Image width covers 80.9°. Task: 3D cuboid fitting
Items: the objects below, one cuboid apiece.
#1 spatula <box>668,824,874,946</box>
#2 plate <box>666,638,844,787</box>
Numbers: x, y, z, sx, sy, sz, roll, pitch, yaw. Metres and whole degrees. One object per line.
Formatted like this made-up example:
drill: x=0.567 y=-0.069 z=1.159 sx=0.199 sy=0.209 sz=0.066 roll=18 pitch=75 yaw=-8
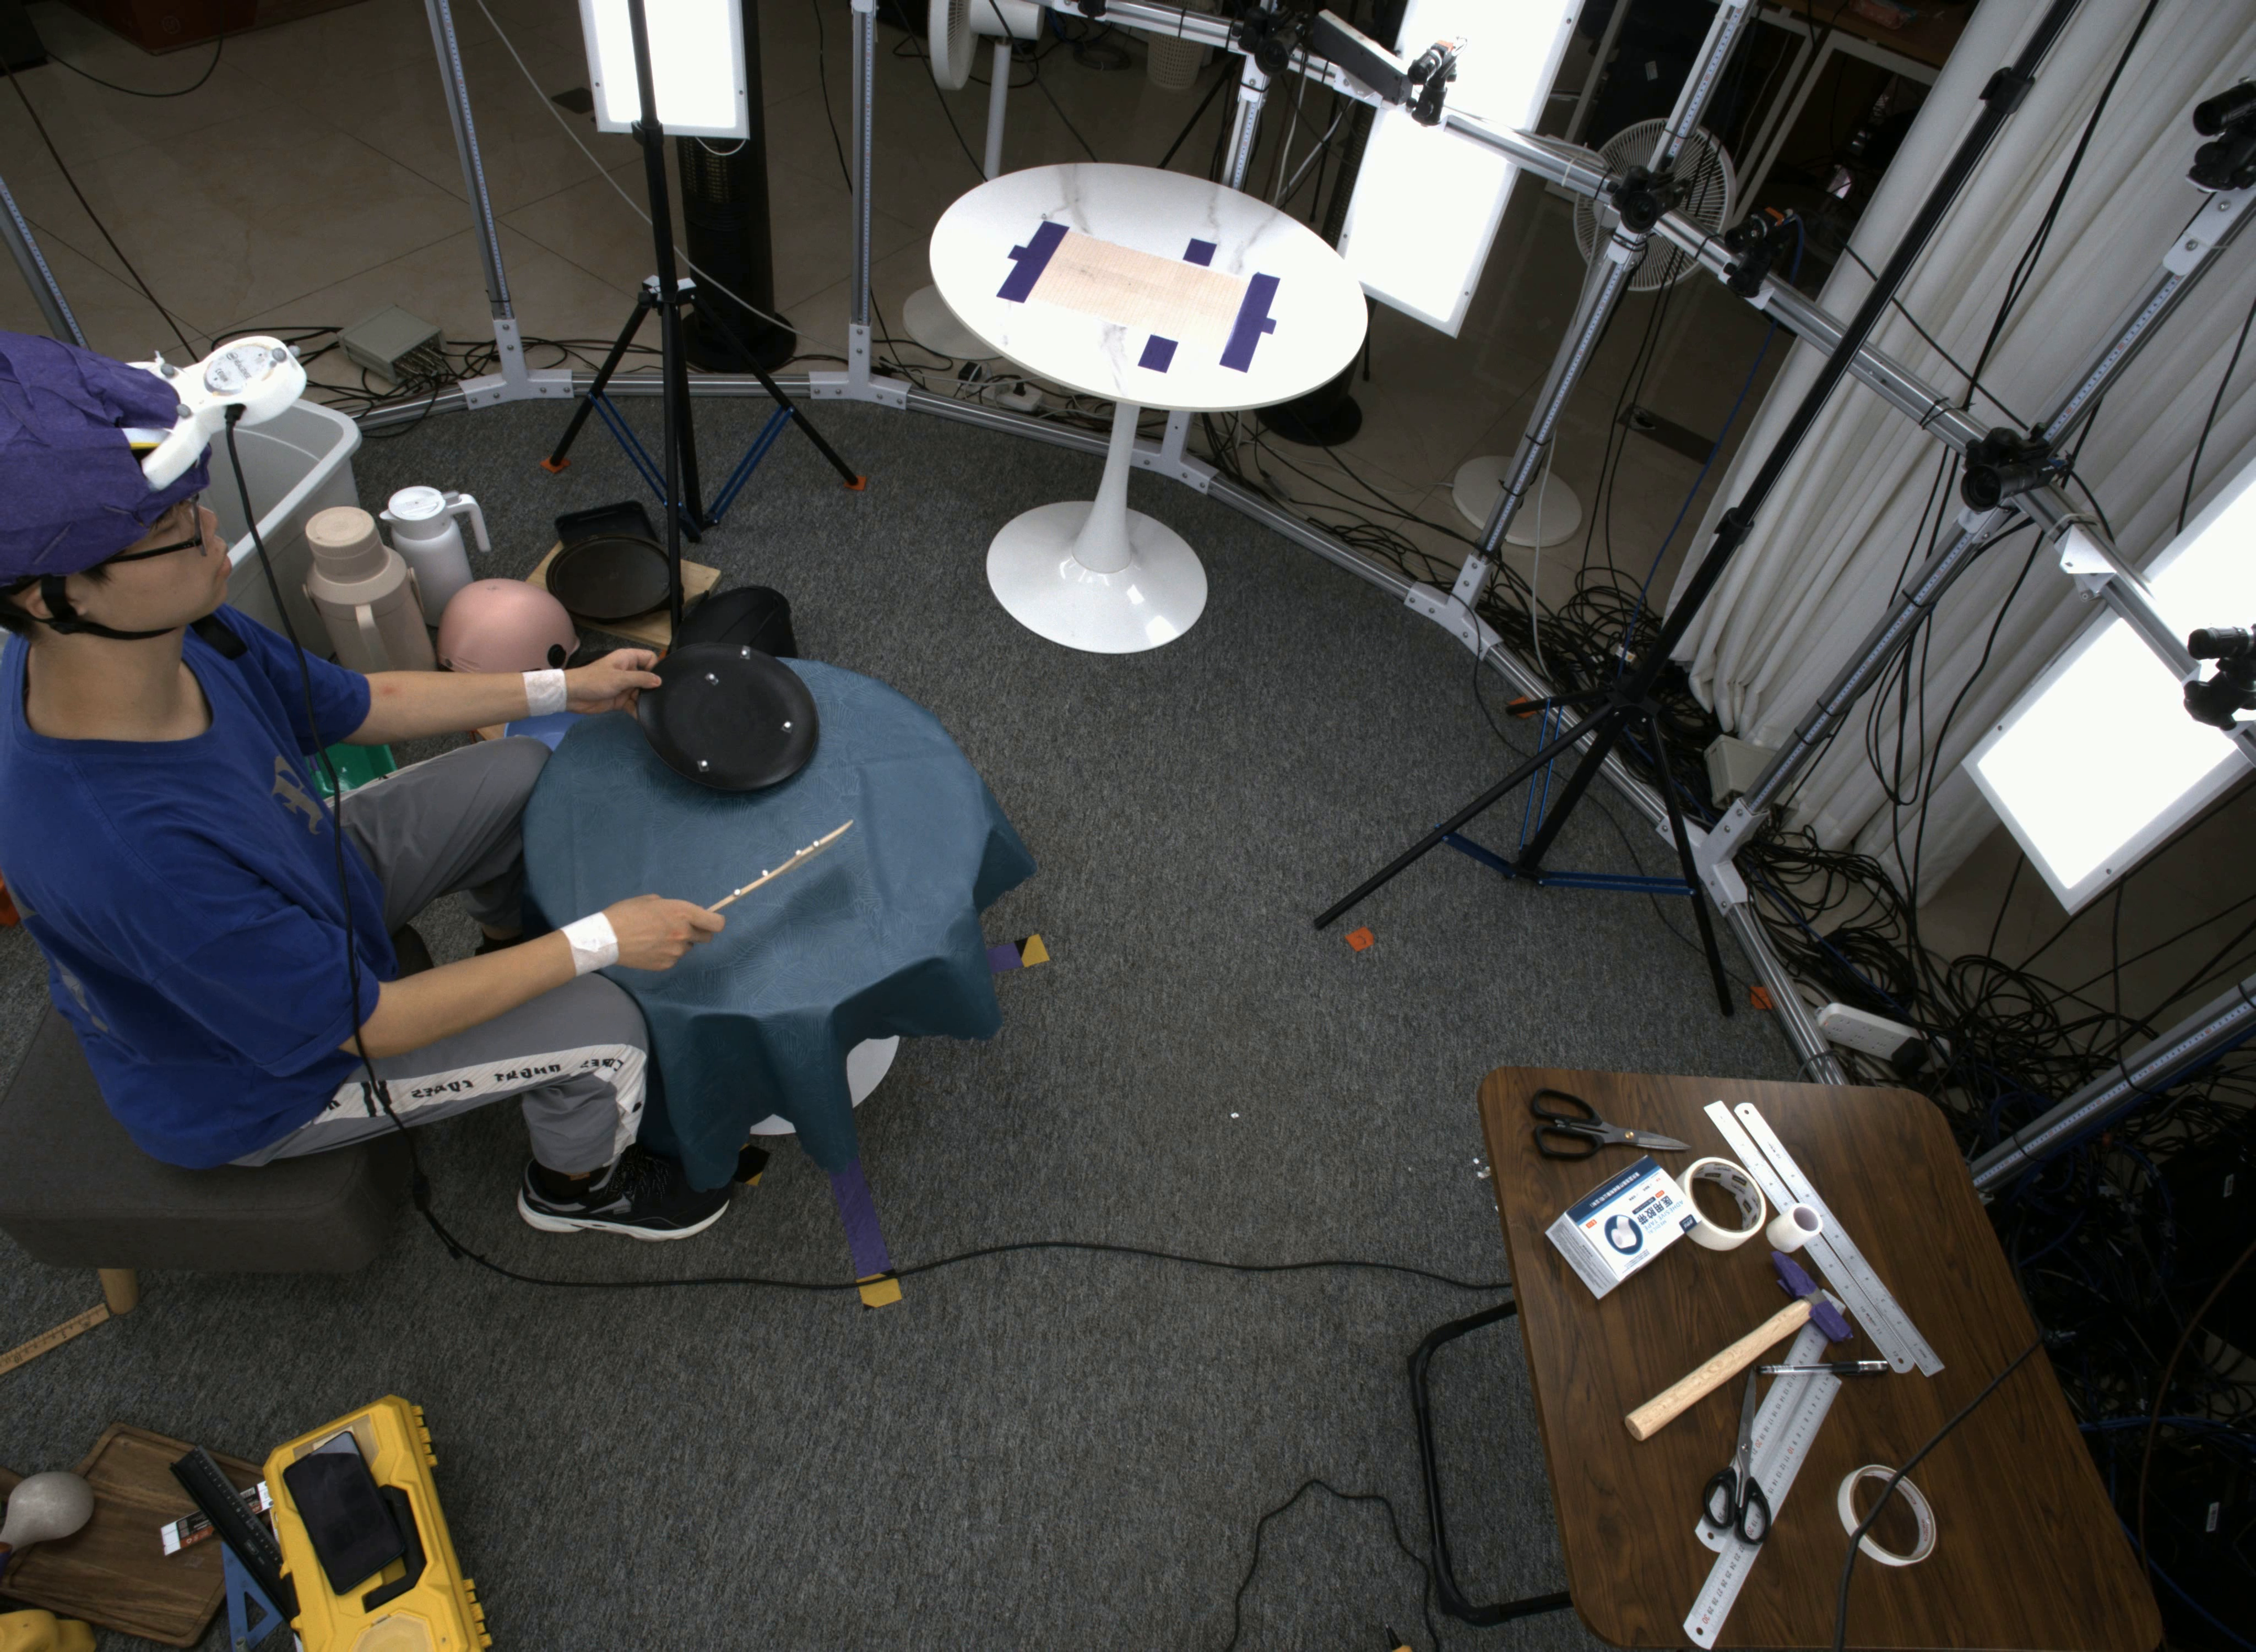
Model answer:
spatula: x=-0.438 y=0.071 z=1.598 sx=0.294 sy=0.071 sz=0.011 roll=-32 pitch=90 yaw=-34
plate: x=-0.514 y=-0.153 z=1.782 sx=0.247 sy=0.023 sz=0.241 roll=15 pitch=56 yaw=-20
